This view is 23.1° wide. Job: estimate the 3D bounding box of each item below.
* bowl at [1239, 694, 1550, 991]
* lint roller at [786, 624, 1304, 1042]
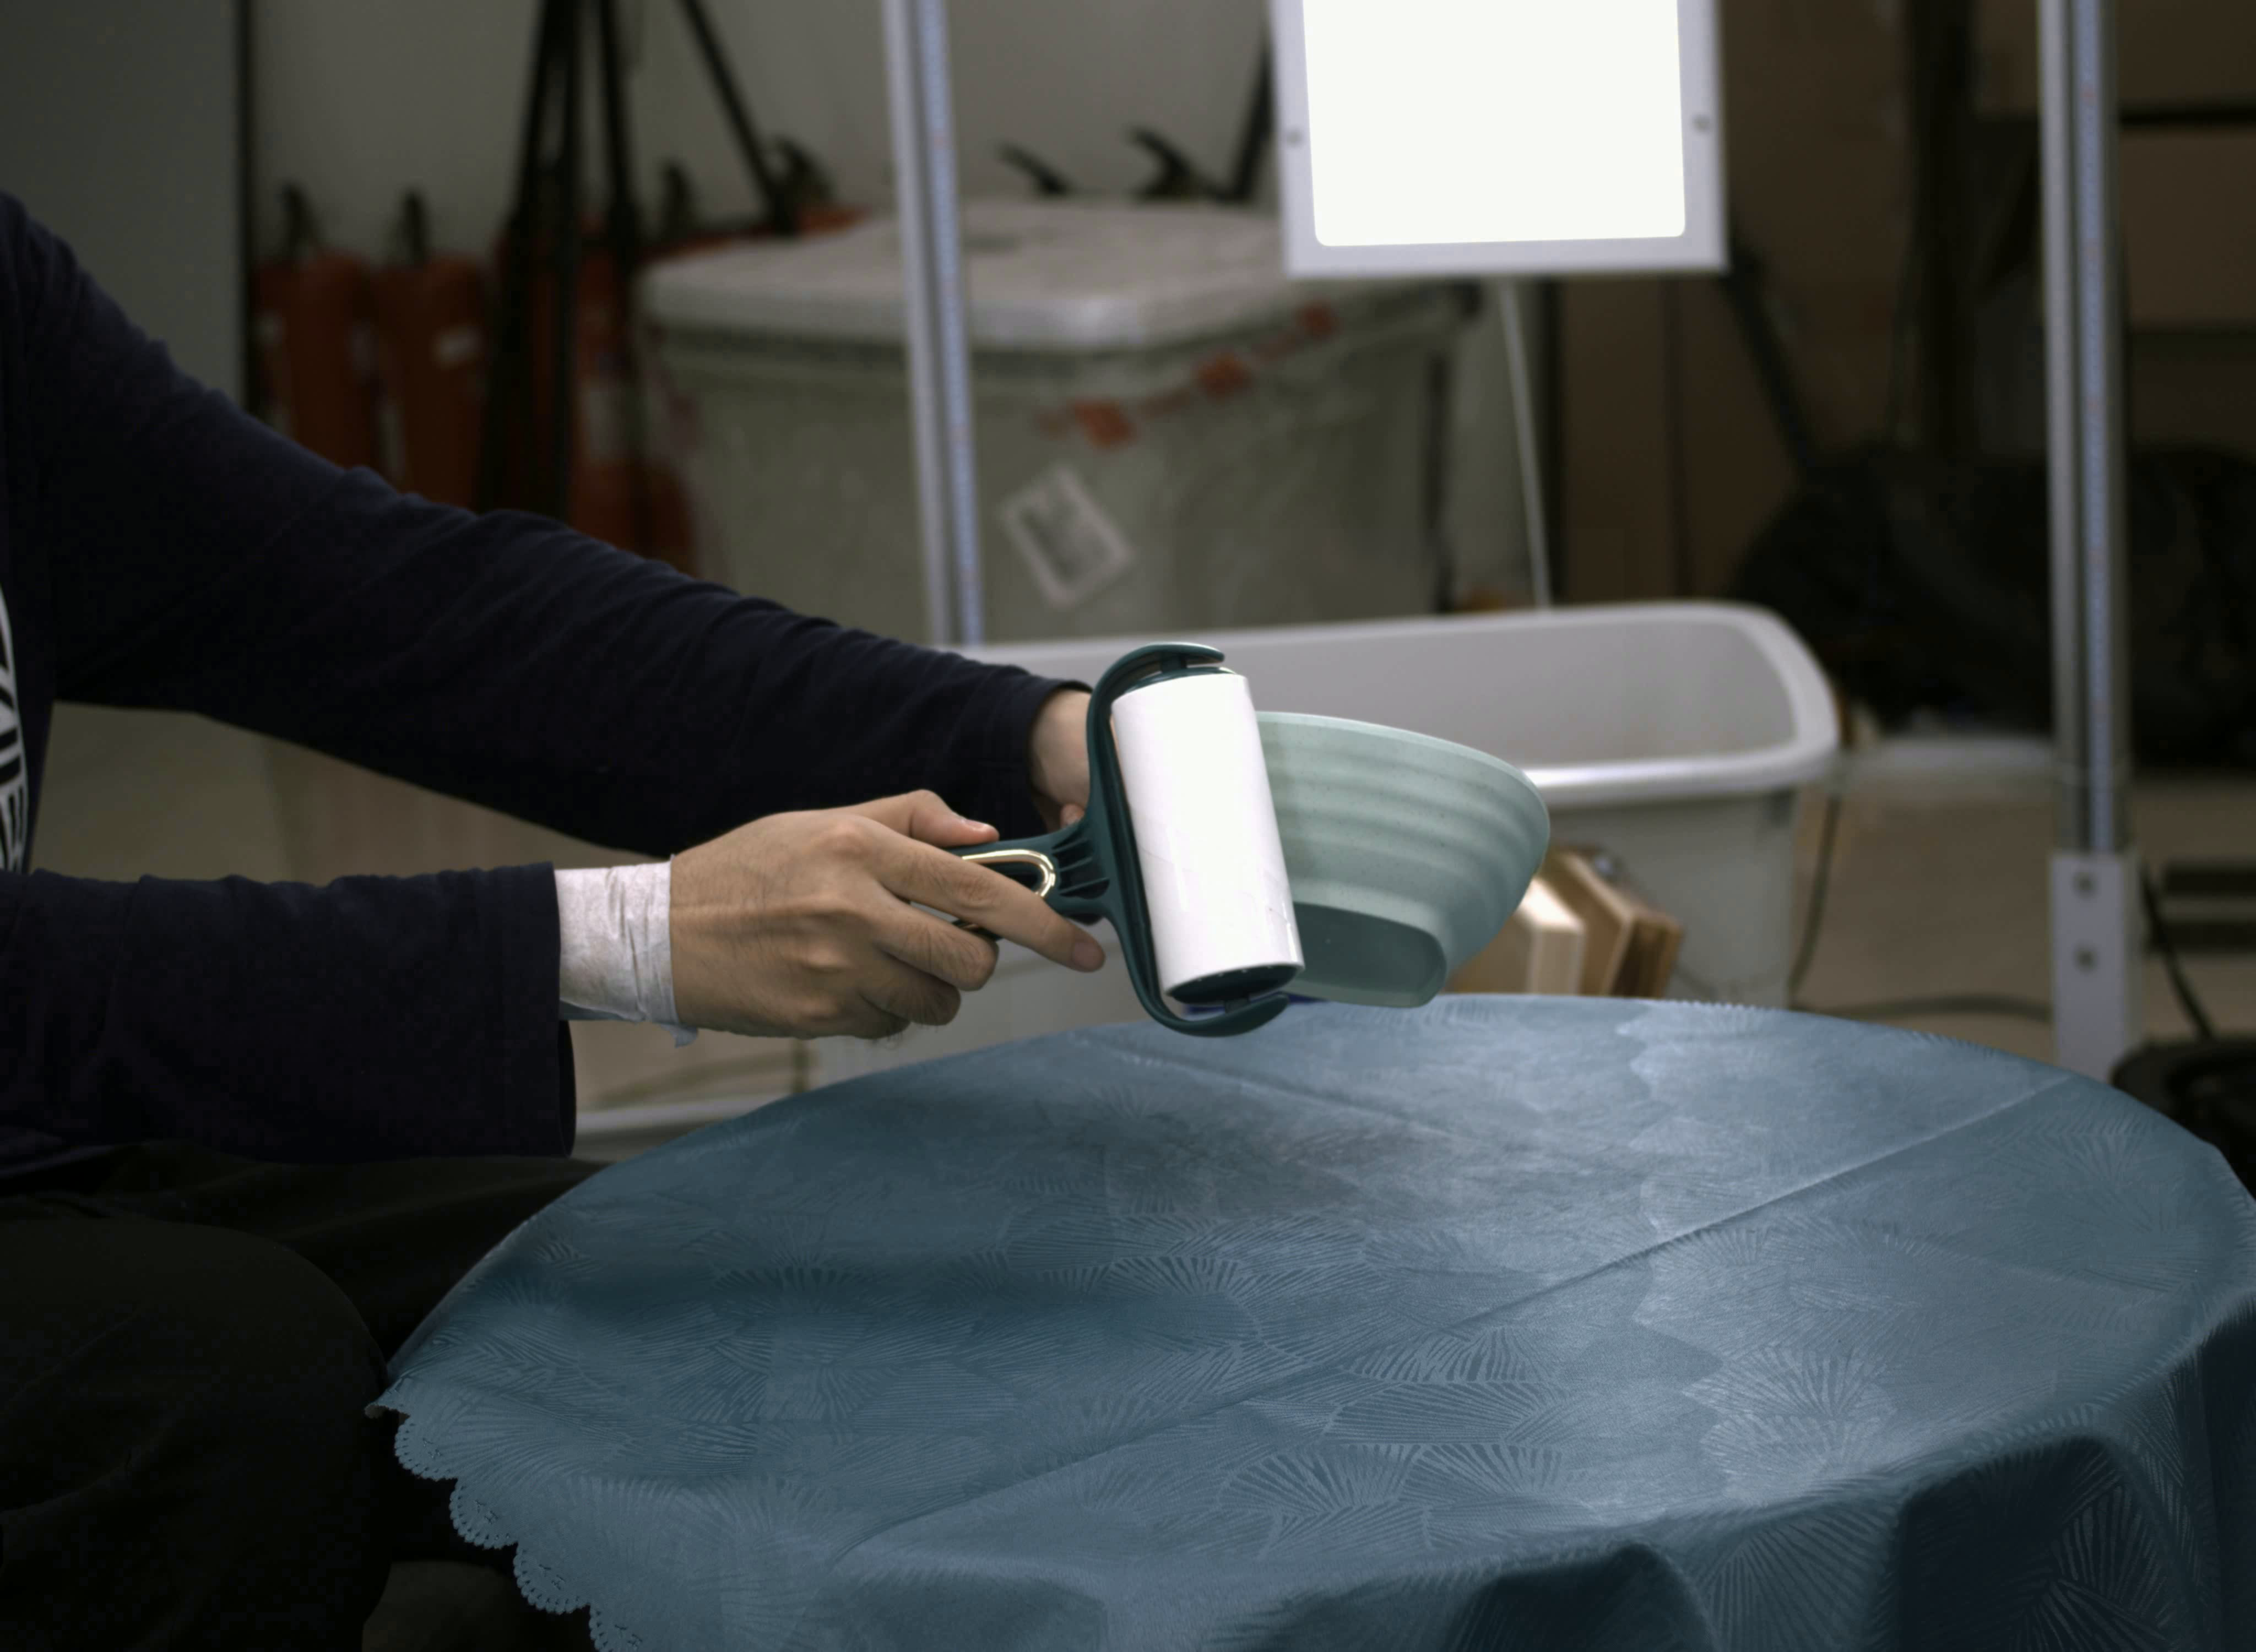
[{"bbox_3d":[0.071,0.011,1.888,0.151,0.058,0.152,19,-15,4],"label":"bowl"},{"bbox_3d":[-0.037,0.019,1.832,0.182,0.134,0.047,-14,-12,16],"label":"lint roller"}]
